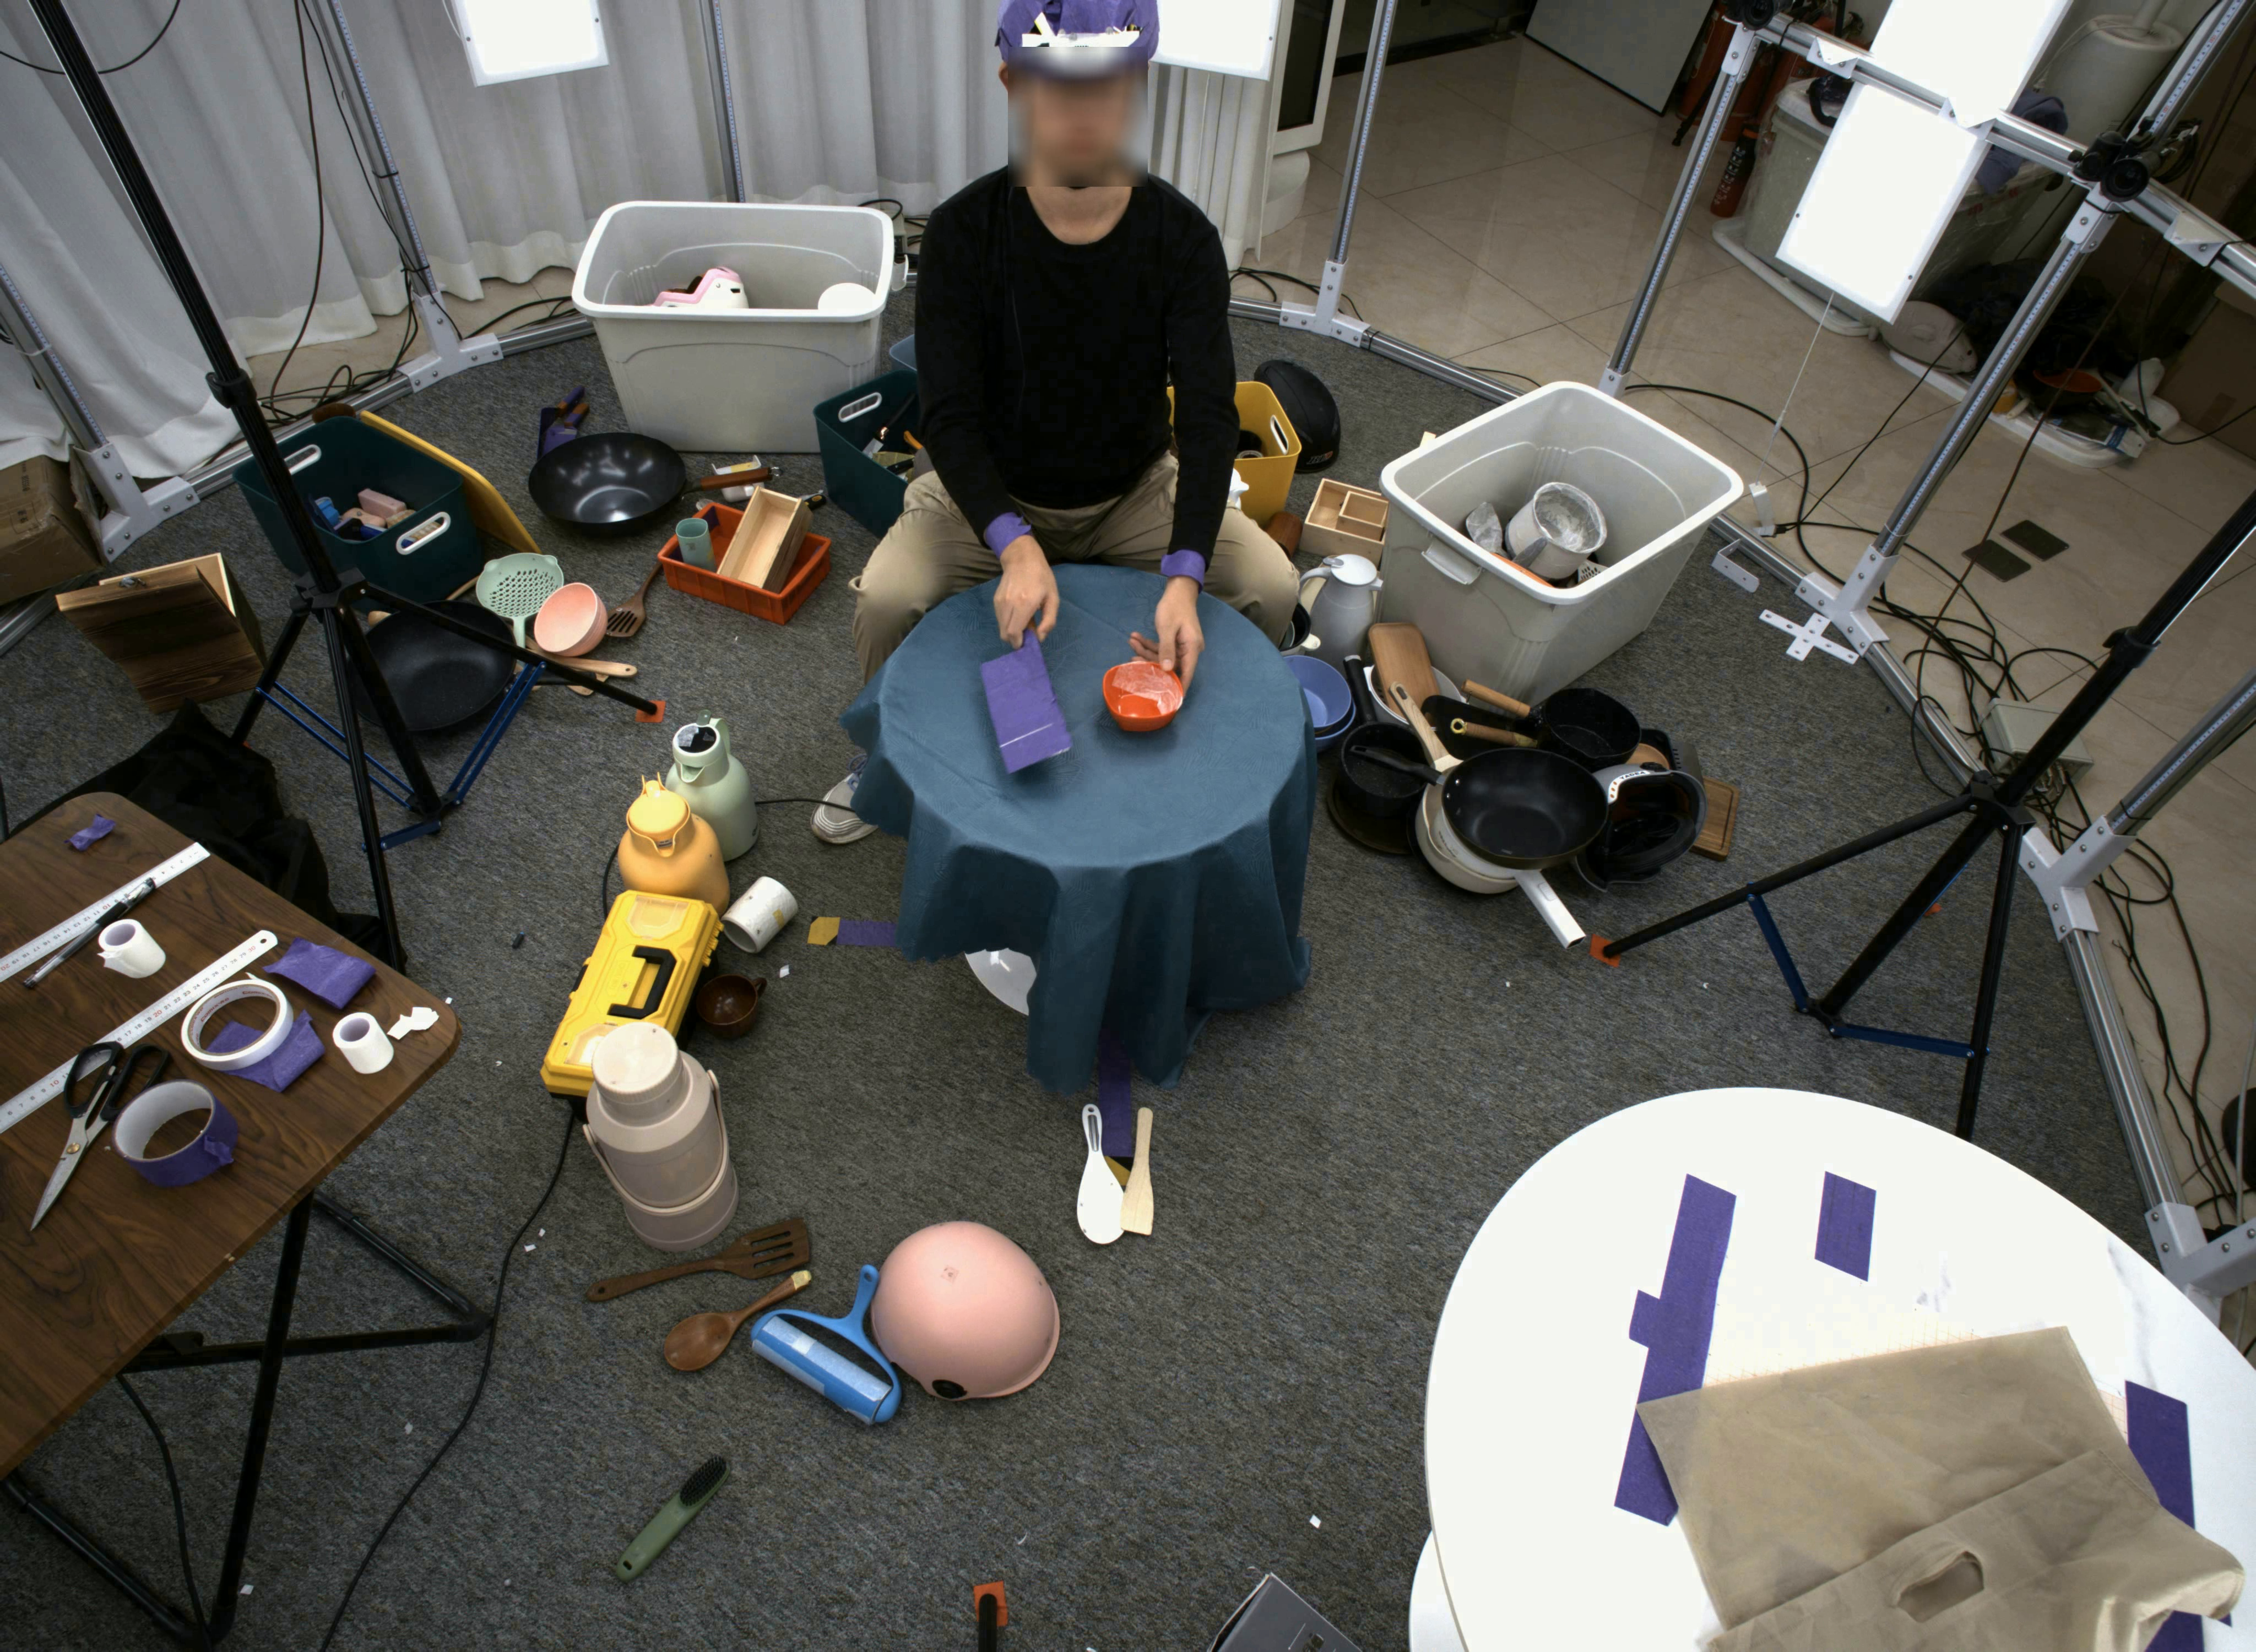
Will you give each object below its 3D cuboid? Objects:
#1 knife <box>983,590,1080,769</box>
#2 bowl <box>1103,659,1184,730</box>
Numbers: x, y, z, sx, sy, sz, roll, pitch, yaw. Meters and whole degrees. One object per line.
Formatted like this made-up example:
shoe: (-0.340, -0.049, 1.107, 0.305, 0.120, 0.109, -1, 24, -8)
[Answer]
knife: (-0.150, -0.207, 1.766, 0.104, 0.031, 0.323, -22, 49, 3)
bowl: (0.020, -0.176, 1.786, 0.119, 0.050, 0.122, 1, 53, -2)
